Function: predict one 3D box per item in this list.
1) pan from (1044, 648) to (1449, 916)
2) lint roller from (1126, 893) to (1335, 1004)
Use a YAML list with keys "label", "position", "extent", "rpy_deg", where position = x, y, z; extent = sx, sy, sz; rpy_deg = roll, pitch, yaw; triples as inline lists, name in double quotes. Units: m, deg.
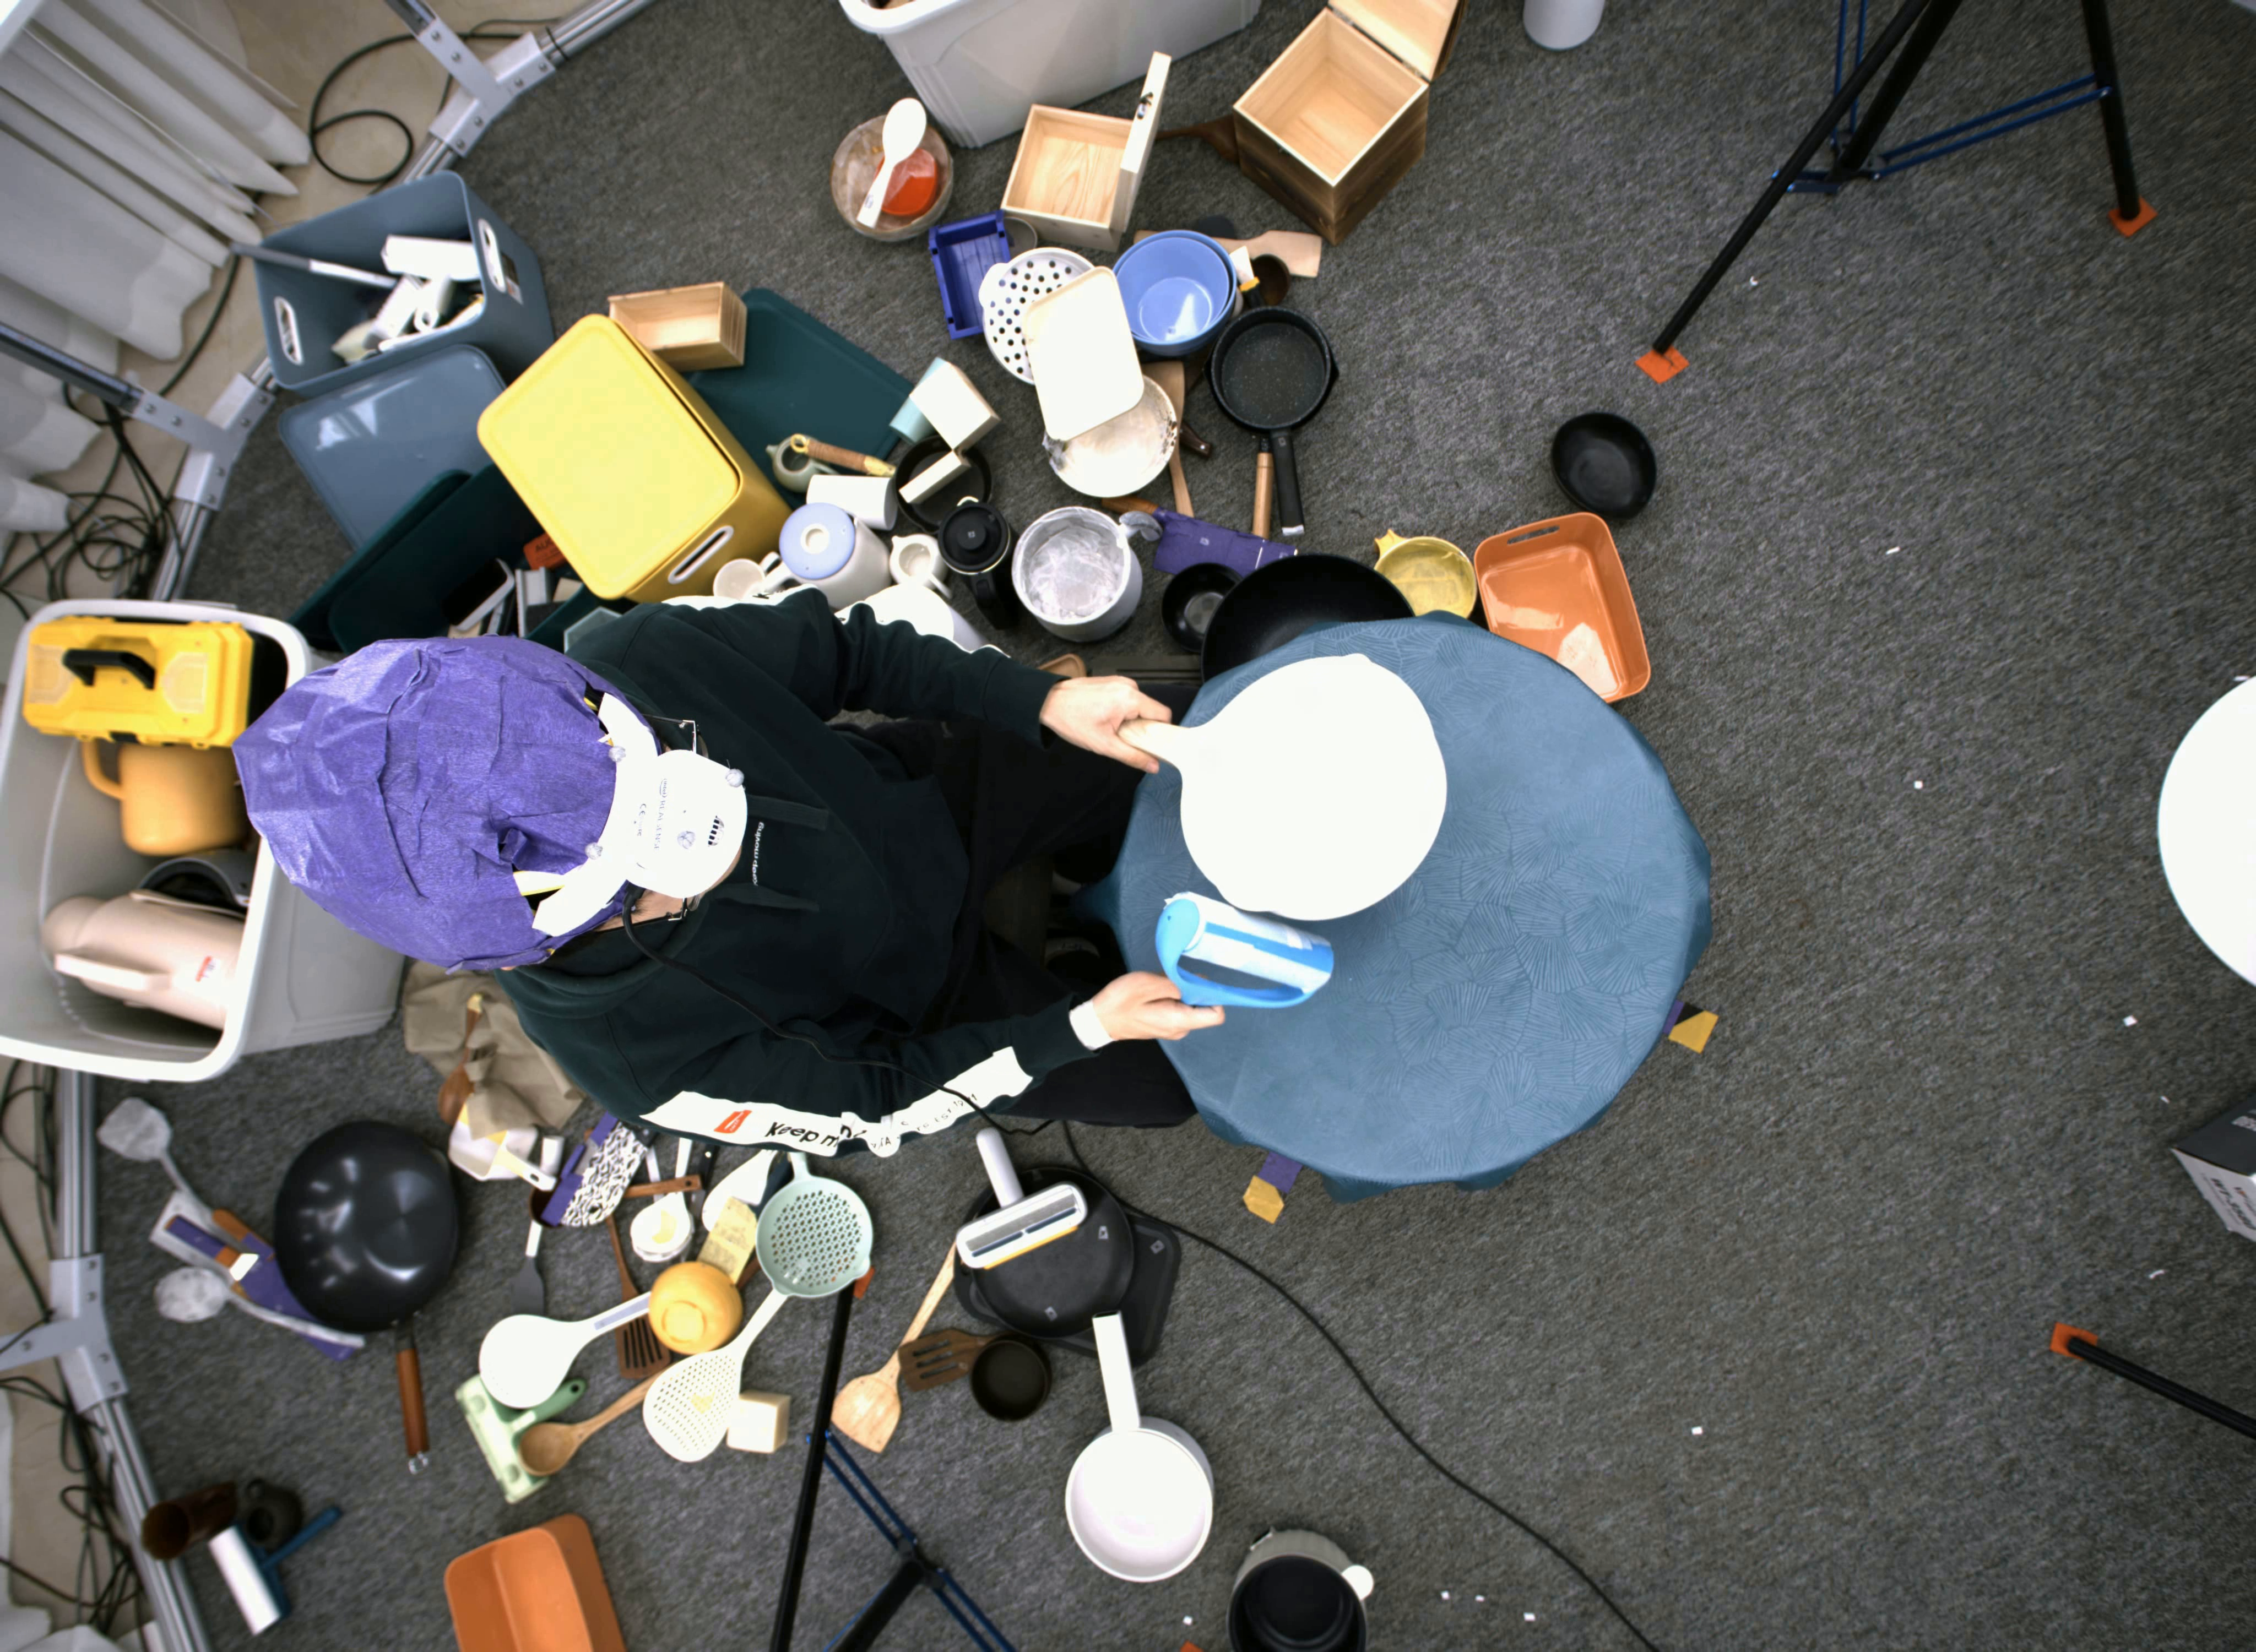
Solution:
- label: "pan"
  position: [0.106, -0.056, 1.329]
  extent: [0.434, 0.103, 0.261]
  rpy_deg: [17, 80, 38]
- label: "lint roller"
  position: [0.073, 0.135, 1.308]
  extent: [0.184, 0.229, 0.066]
  rpy_deg: [-36, 56, 35]
